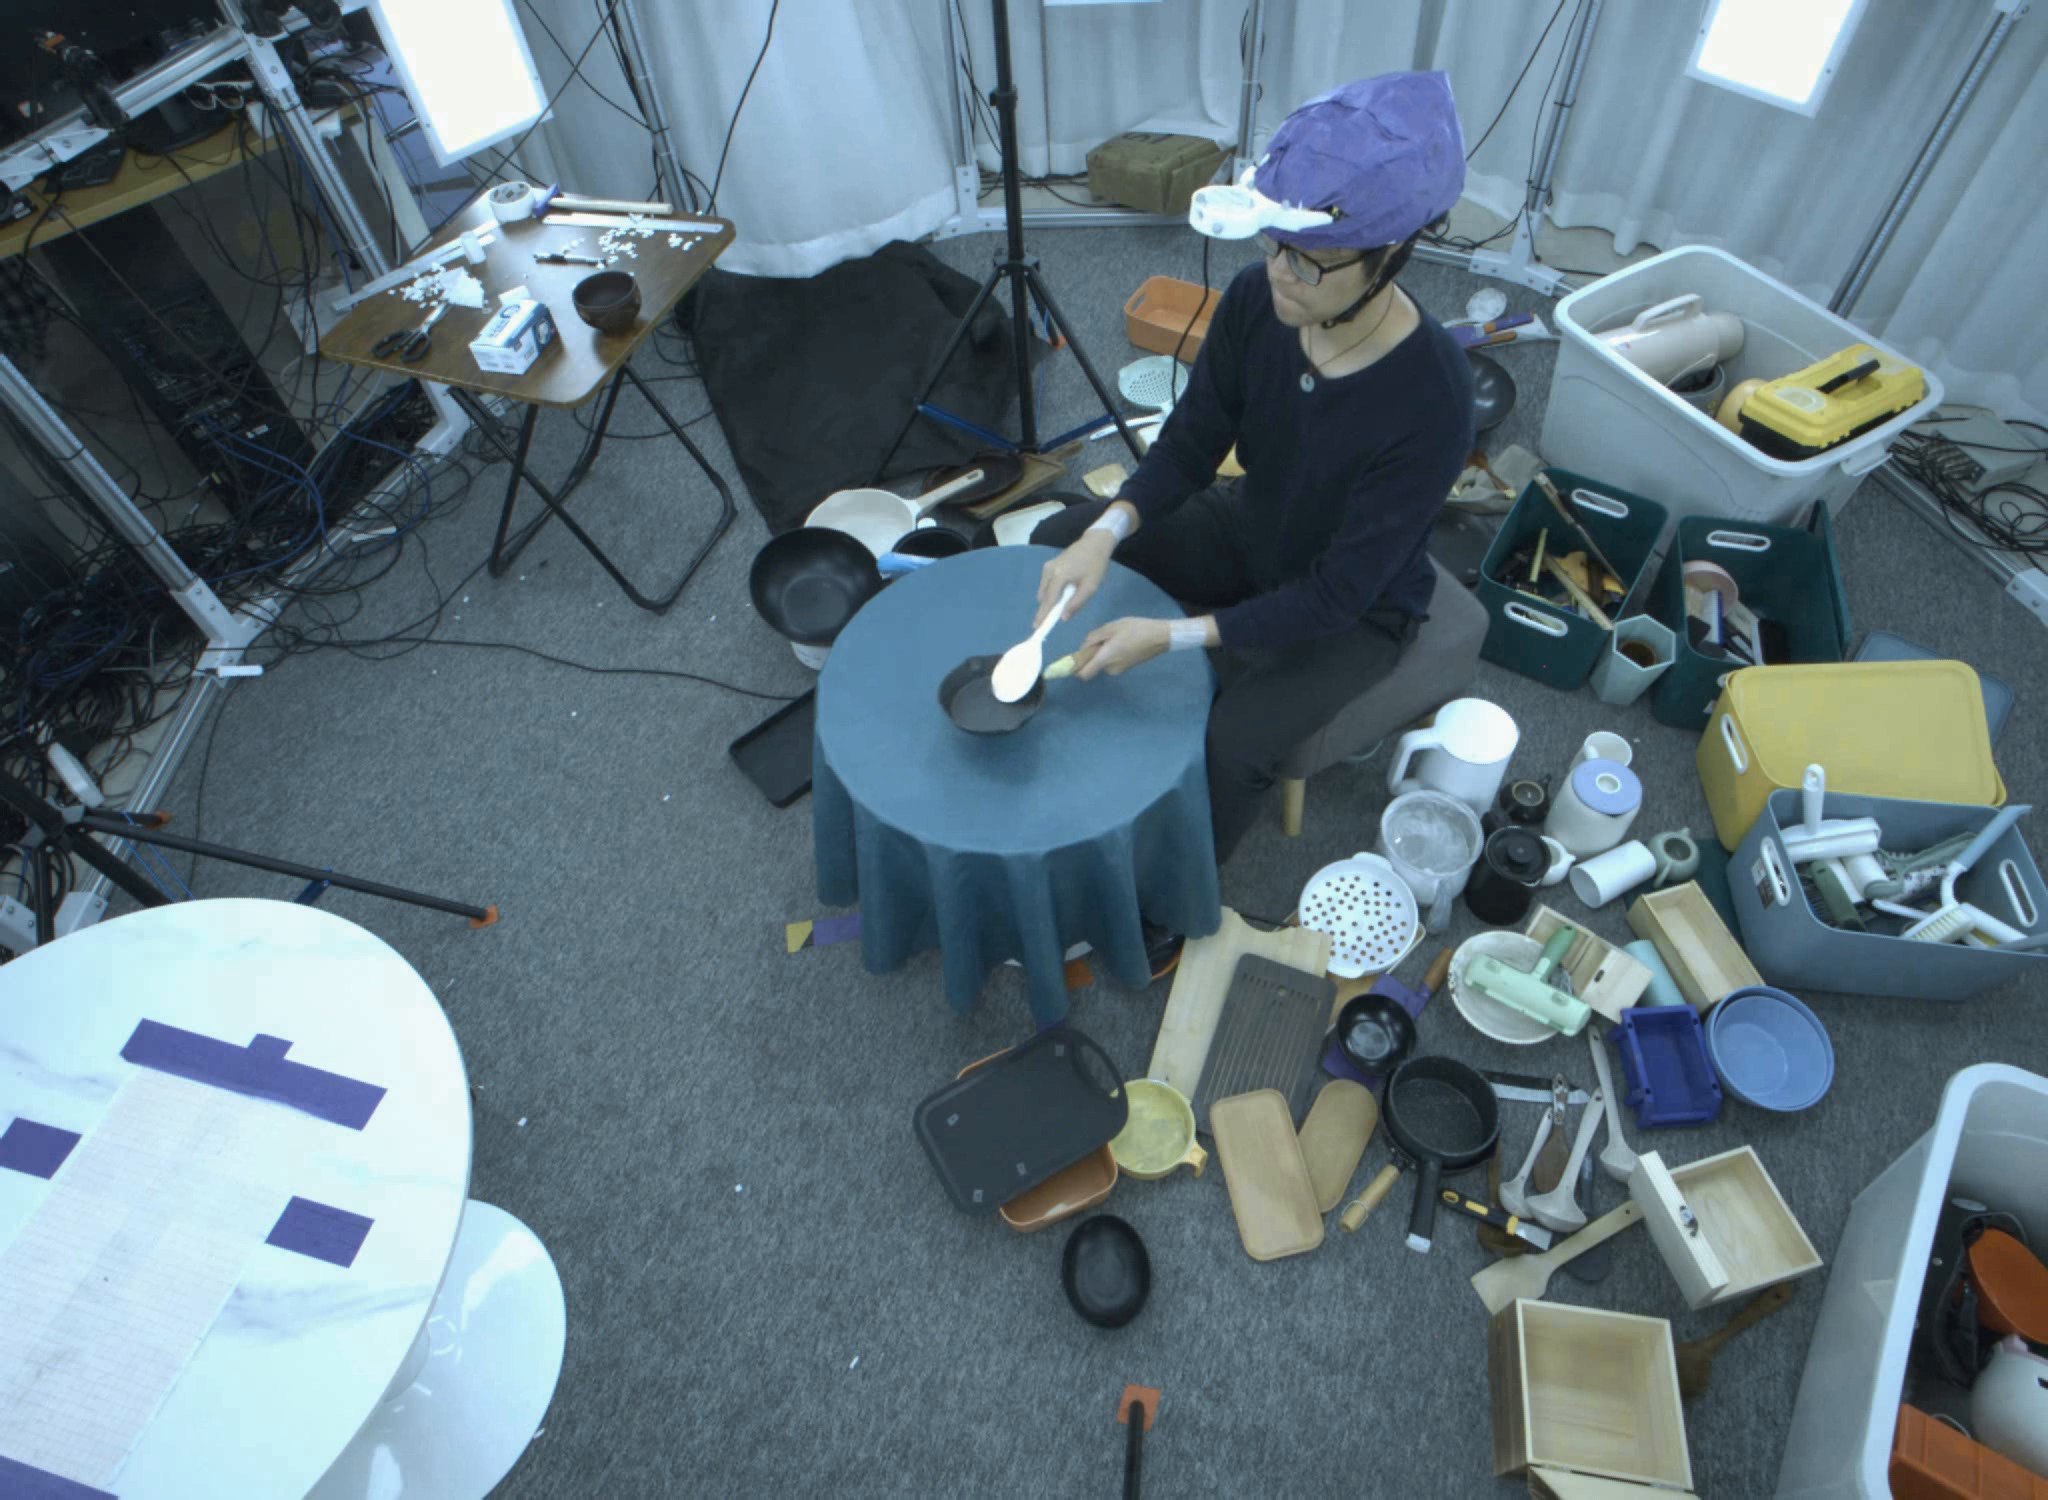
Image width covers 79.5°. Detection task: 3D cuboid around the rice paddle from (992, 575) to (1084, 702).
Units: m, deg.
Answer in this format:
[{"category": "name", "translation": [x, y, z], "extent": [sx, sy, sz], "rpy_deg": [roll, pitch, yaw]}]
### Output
[{"category": "rice paddle", "translation": [0.018, -0.159, 1.767], "extent": [0.067, 0.030, 0.205], "rpy_deg": [31, 87, 29]}]

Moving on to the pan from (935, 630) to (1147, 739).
[{"category": "pan", "translation": [0.030, -0.105, 1.766], "extent": [0.326, 0.050, 0.165], "rpy_deg": [-20, 50, -10]}]
